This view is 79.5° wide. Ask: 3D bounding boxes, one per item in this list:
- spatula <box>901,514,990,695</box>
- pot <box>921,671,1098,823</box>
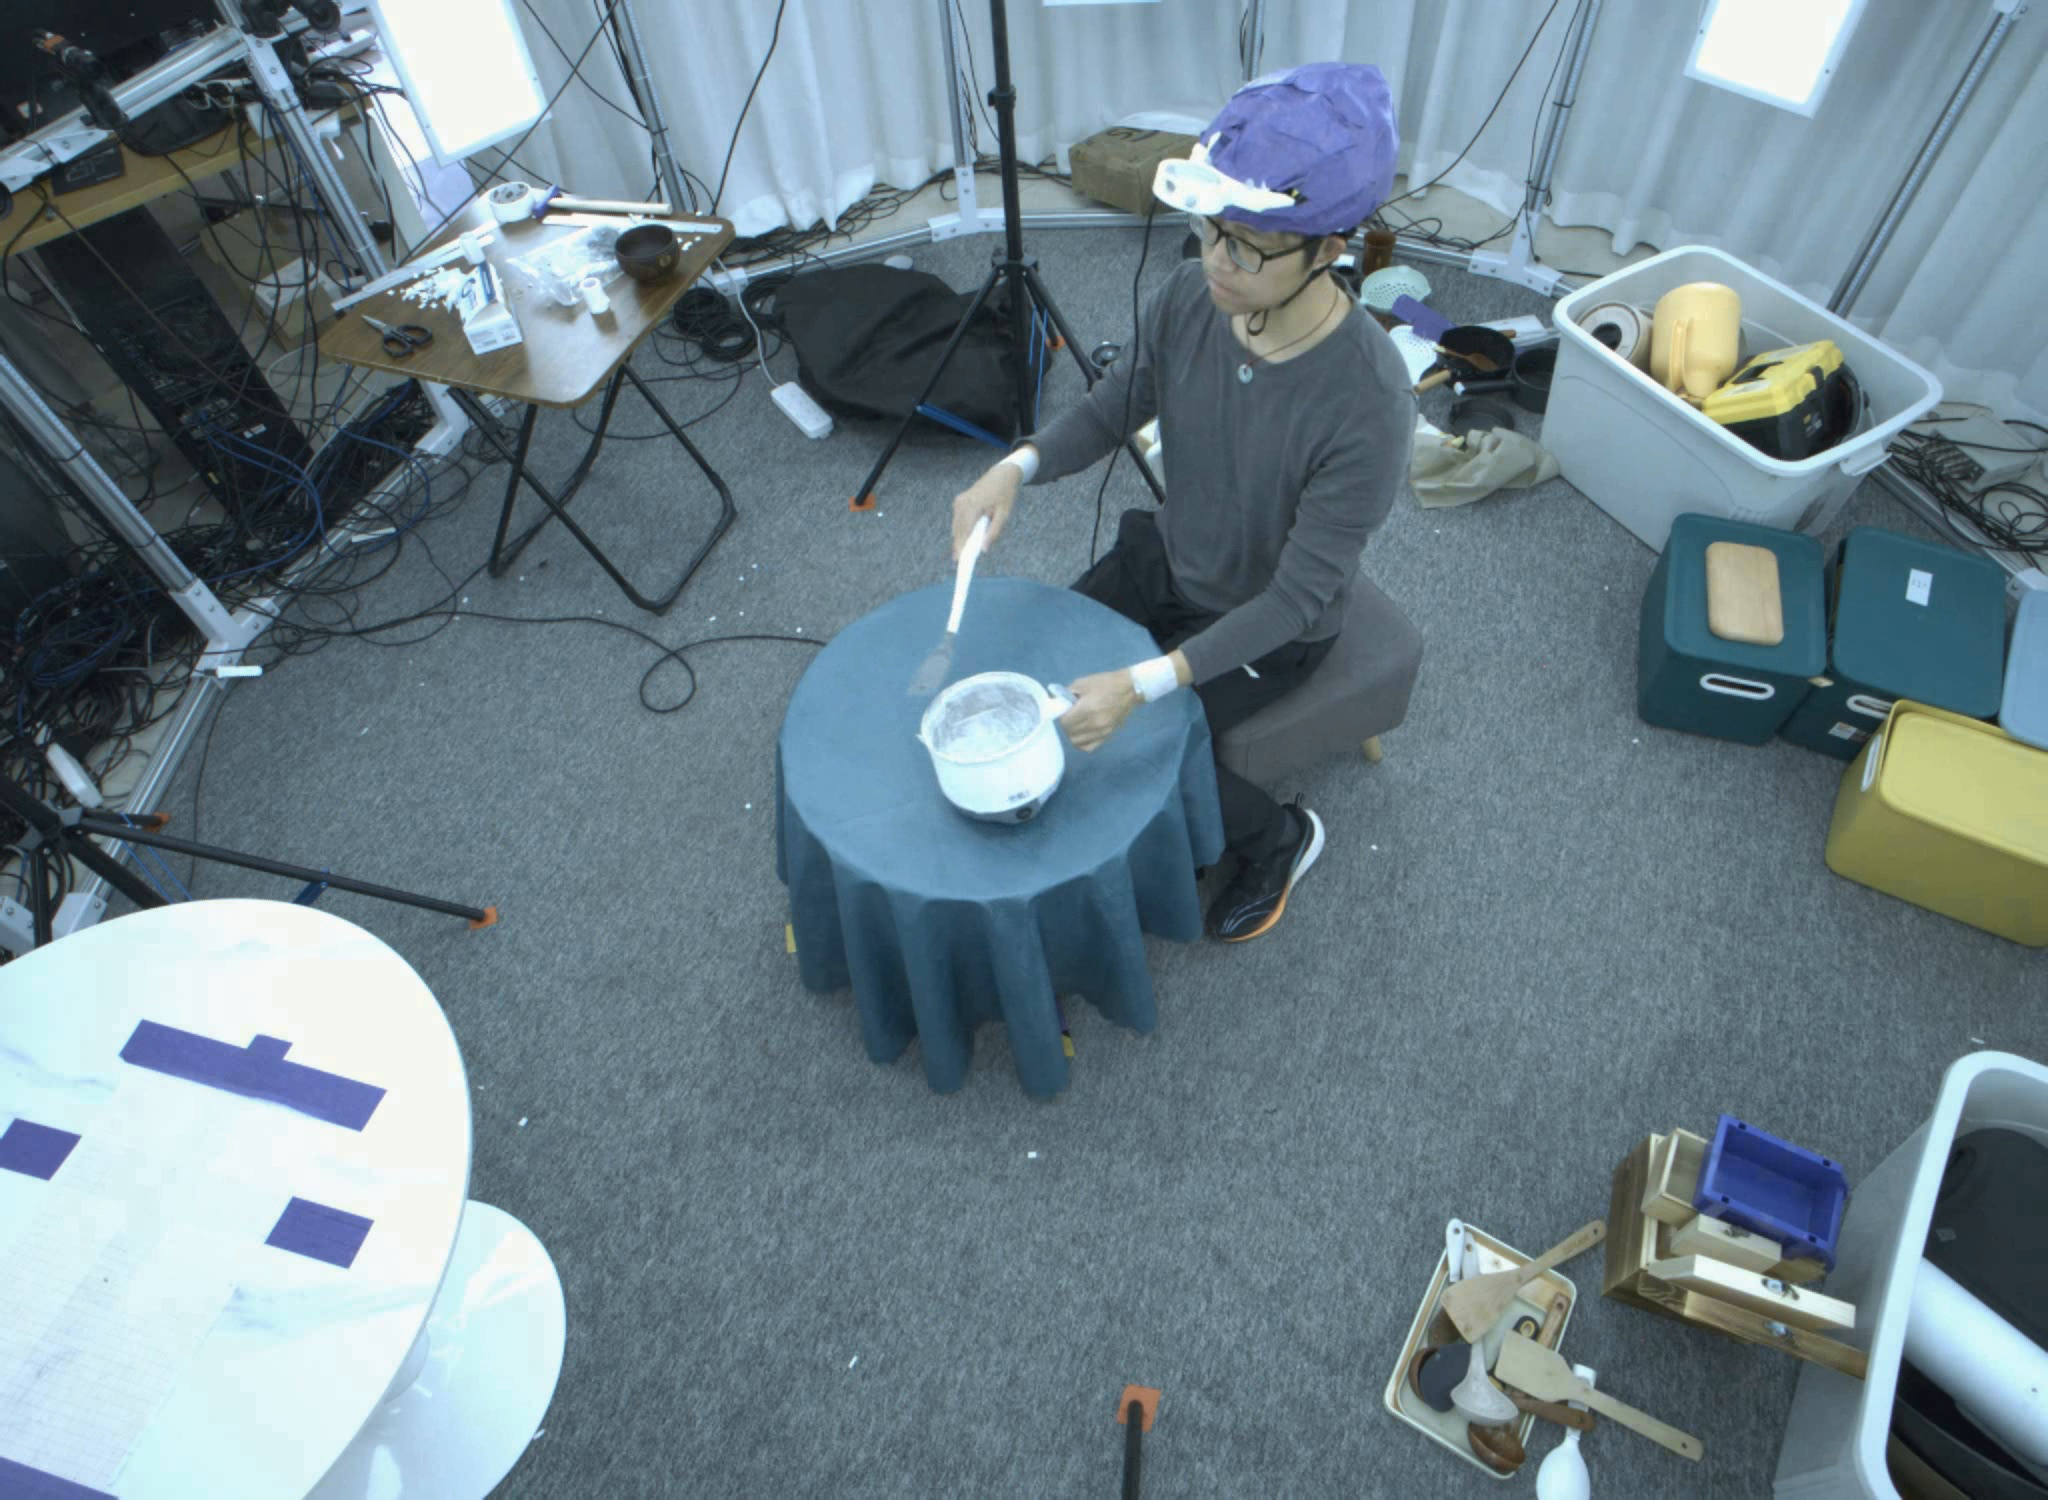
[{"bbox_3d":[-0.103,-0.200,1.696,0.057,0.033,0.287,4,66,32],"label":"spatula"},{"bbox_3d":[-0.014,-0.013,1.701,0.235,0.139,0.175,-23,46,-8],"label":"pot"}]
